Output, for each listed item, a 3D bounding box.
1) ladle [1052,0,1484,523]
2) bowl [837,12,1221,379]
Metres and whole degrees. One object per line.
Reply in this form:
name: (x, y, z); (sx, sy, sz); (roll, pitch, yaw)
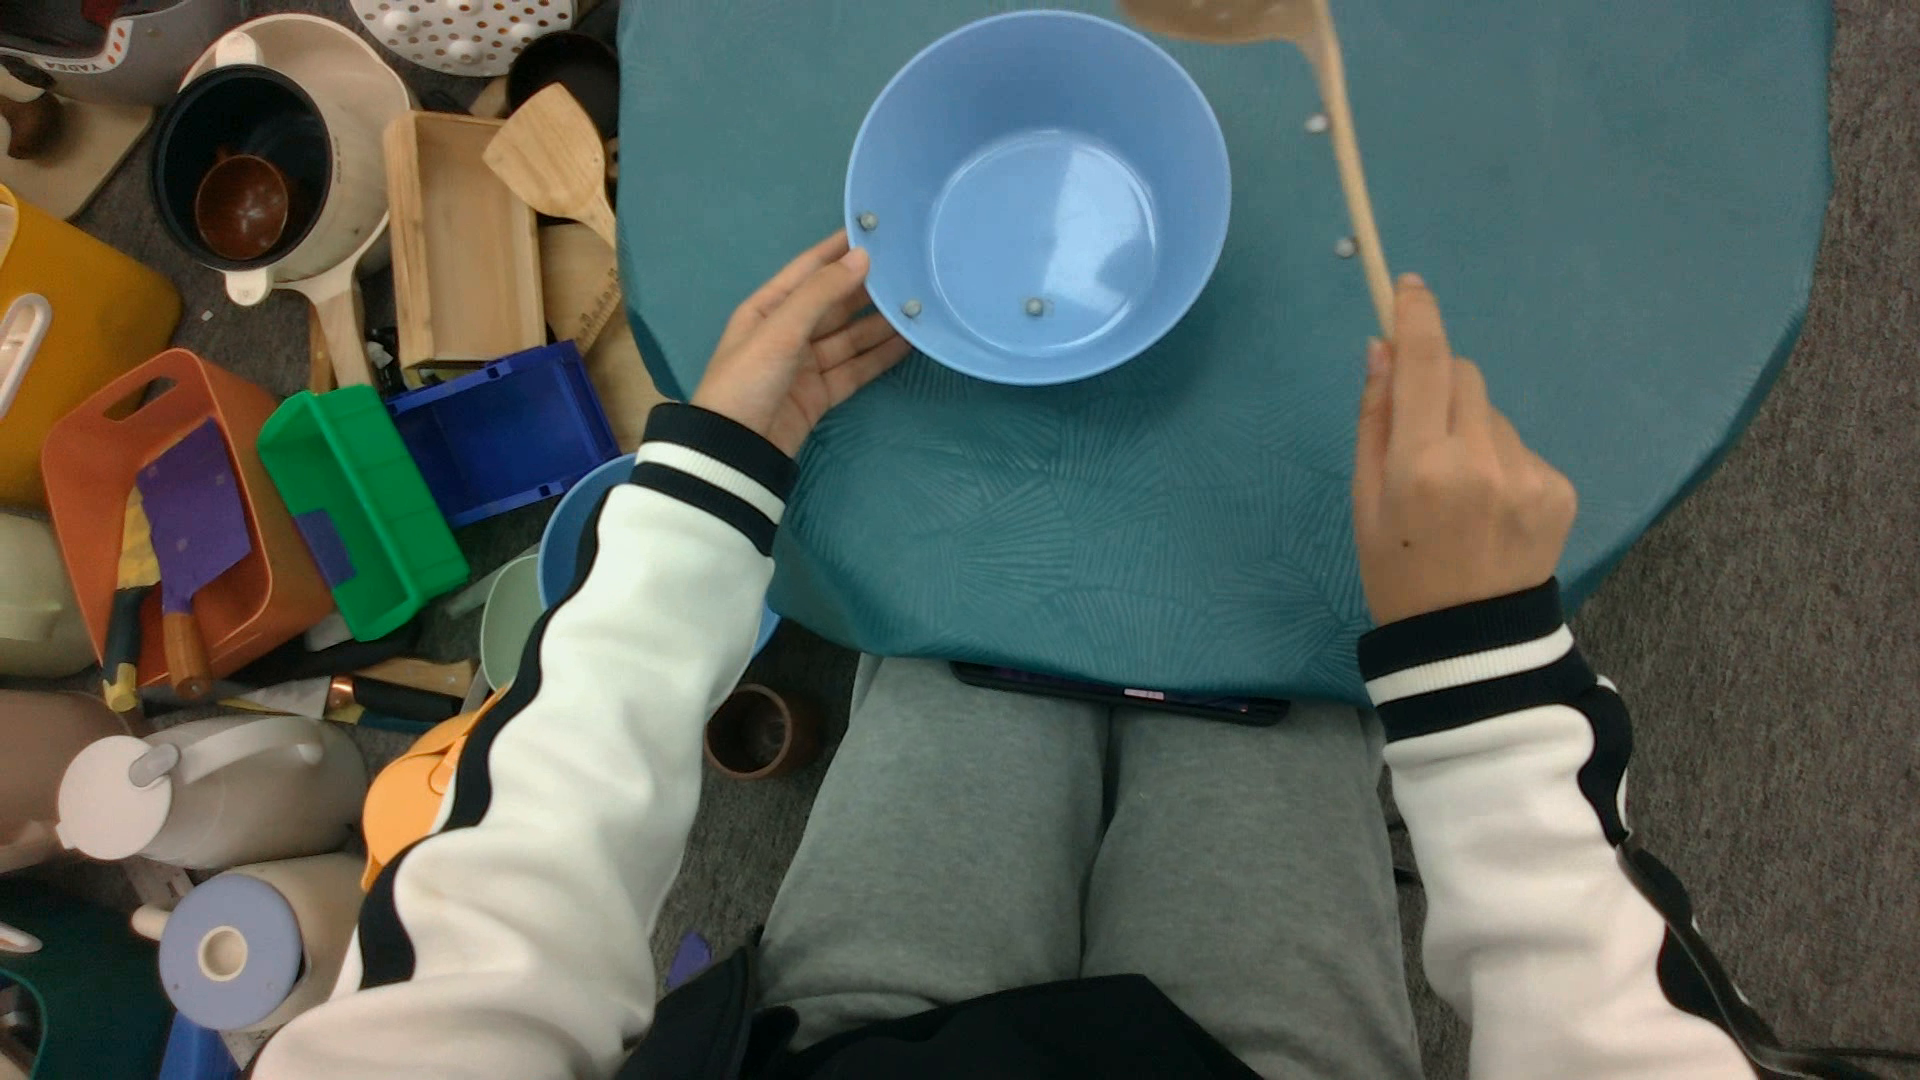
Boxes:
ladle: (0.112, -0.110, 0.521); (0.073, 0.072, 0.254); (-23, 88, 4)
bowl: (0.034, -0.154, 0.657); (0.176, 0.070, 0.176); (-1, 81, 7)
